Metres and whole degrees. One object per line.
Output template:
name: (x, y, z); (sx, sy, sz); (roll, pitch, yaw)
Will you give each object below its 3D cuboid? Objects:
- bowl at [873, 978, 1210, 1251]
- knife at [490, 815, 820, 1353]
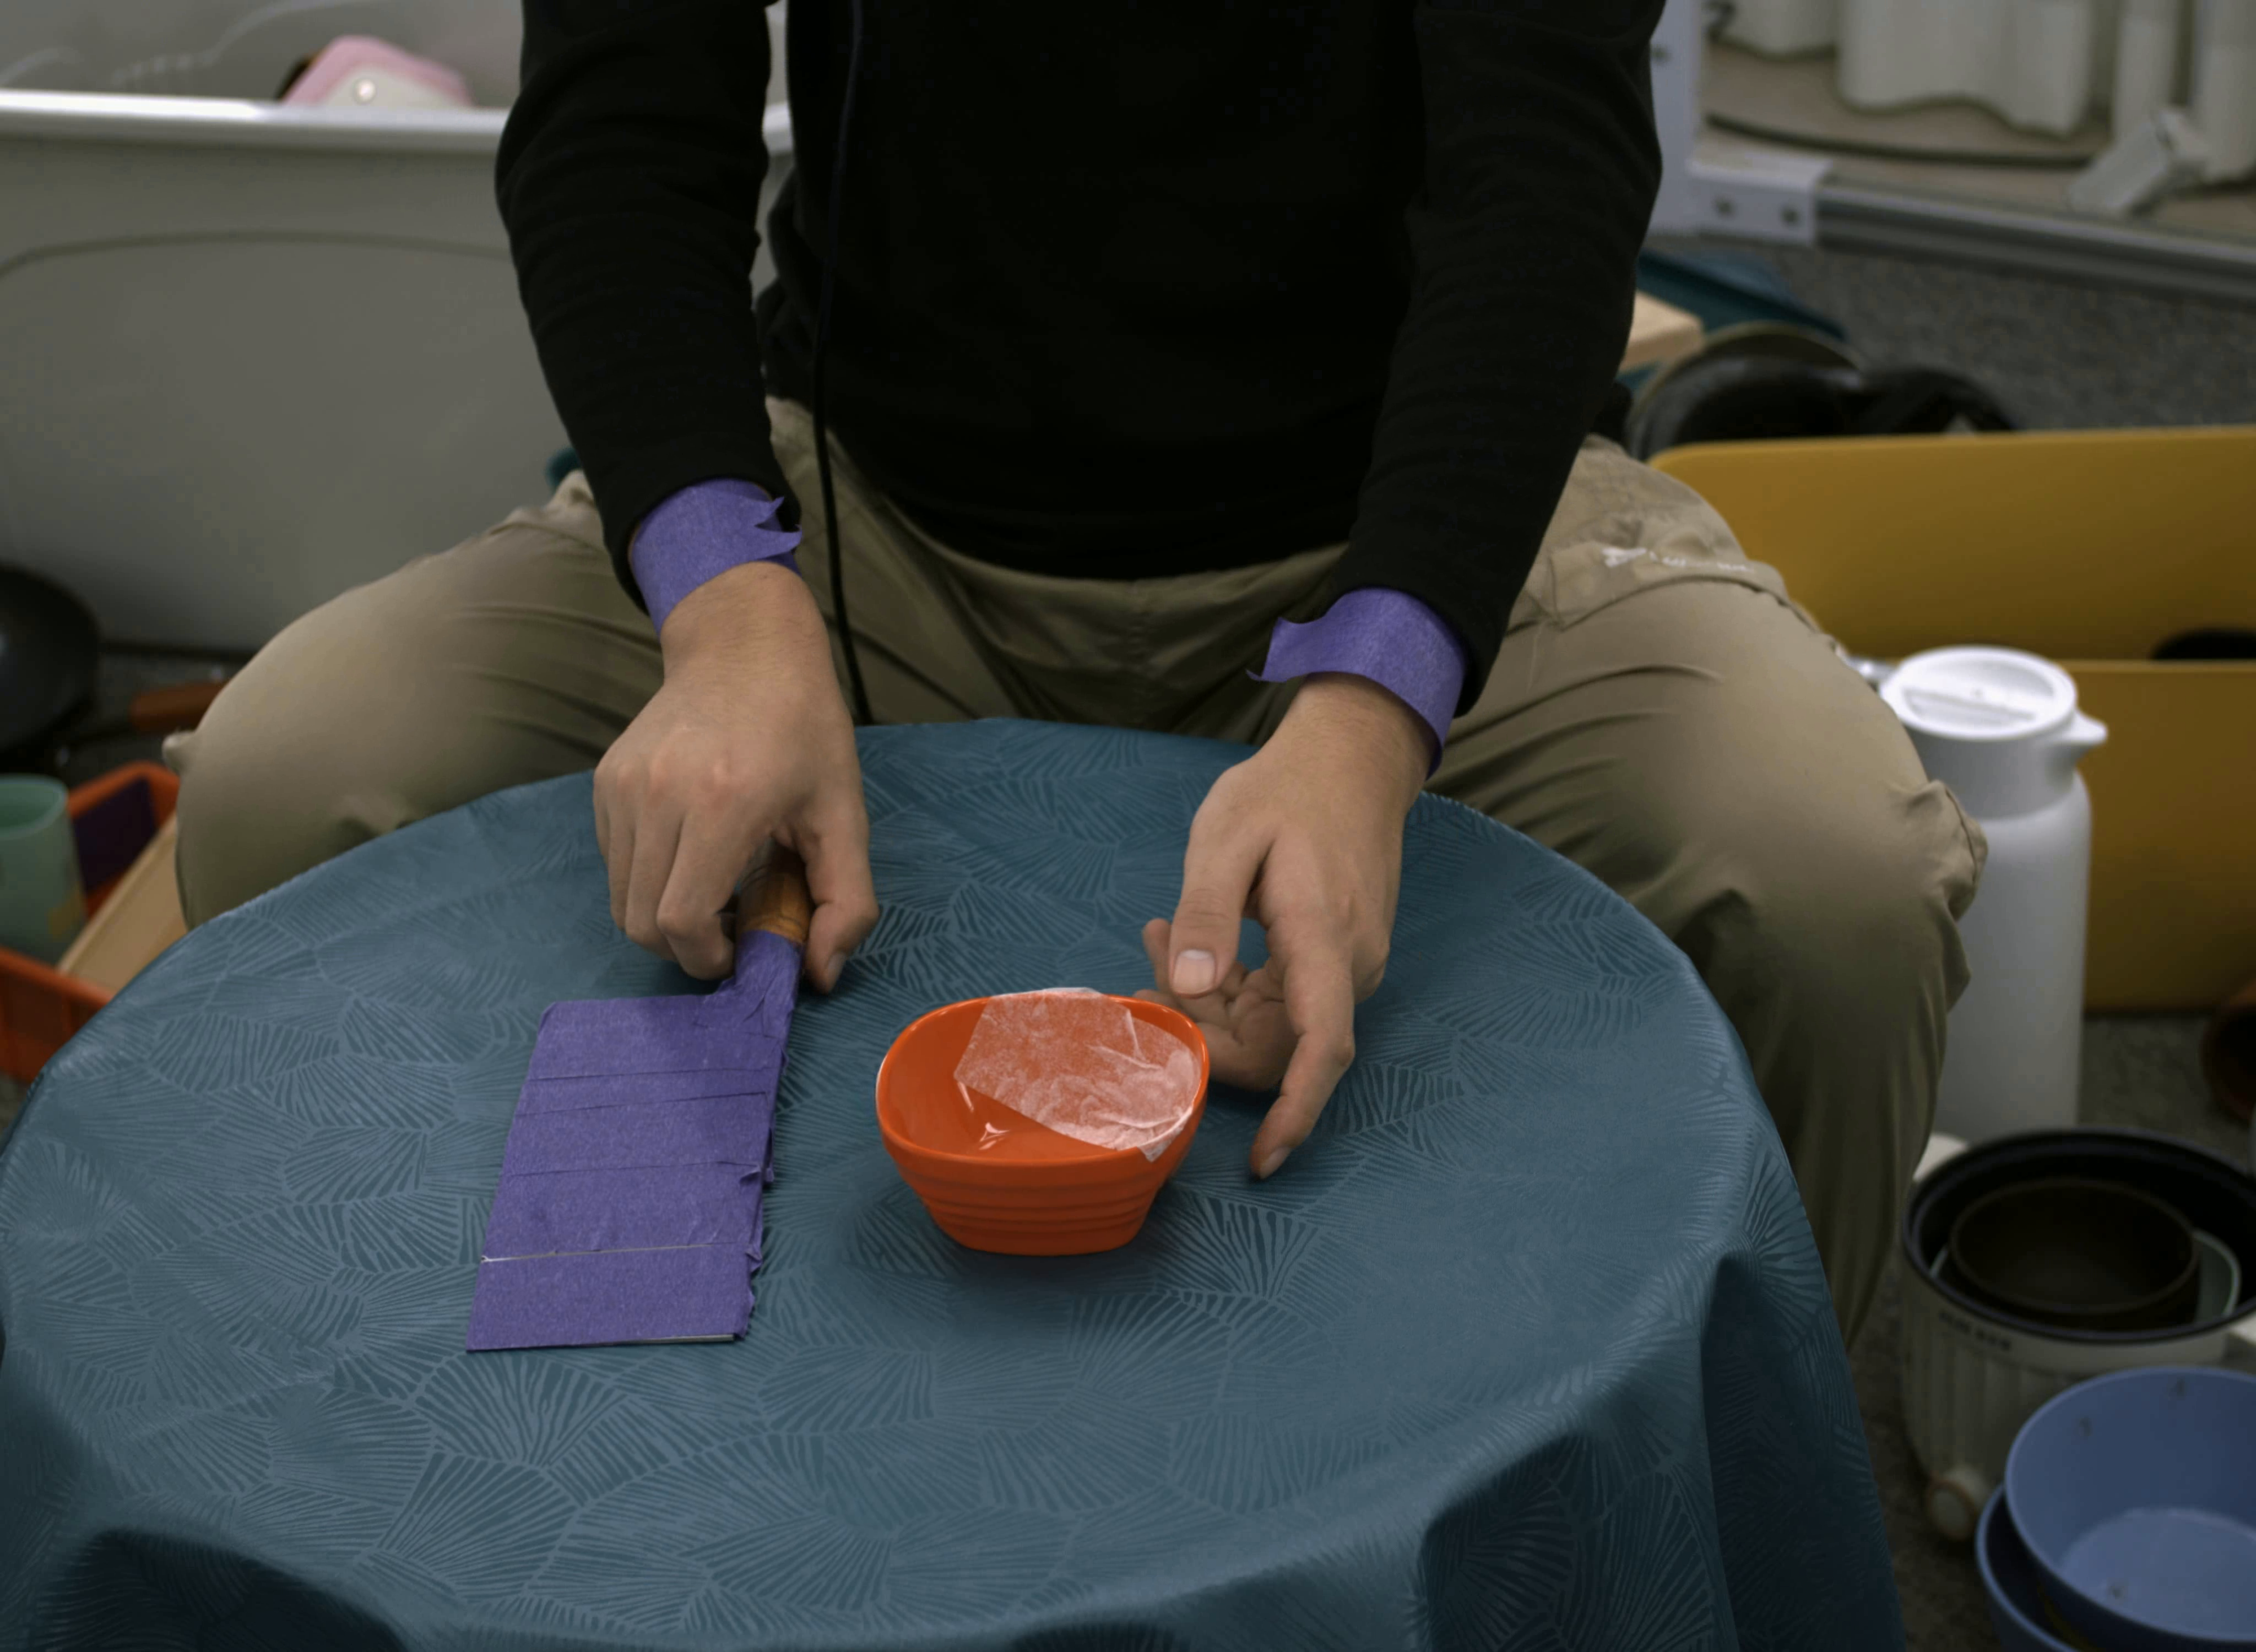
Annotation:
bowl: (-0.026, 0.100, 1.842); (0.118, 0.051, 0.121); (-4, 30, 2)
knife: (-0.160, 0.084, 1.919); (0.103, 0.032, 0.320); (-1, 28, 2)
